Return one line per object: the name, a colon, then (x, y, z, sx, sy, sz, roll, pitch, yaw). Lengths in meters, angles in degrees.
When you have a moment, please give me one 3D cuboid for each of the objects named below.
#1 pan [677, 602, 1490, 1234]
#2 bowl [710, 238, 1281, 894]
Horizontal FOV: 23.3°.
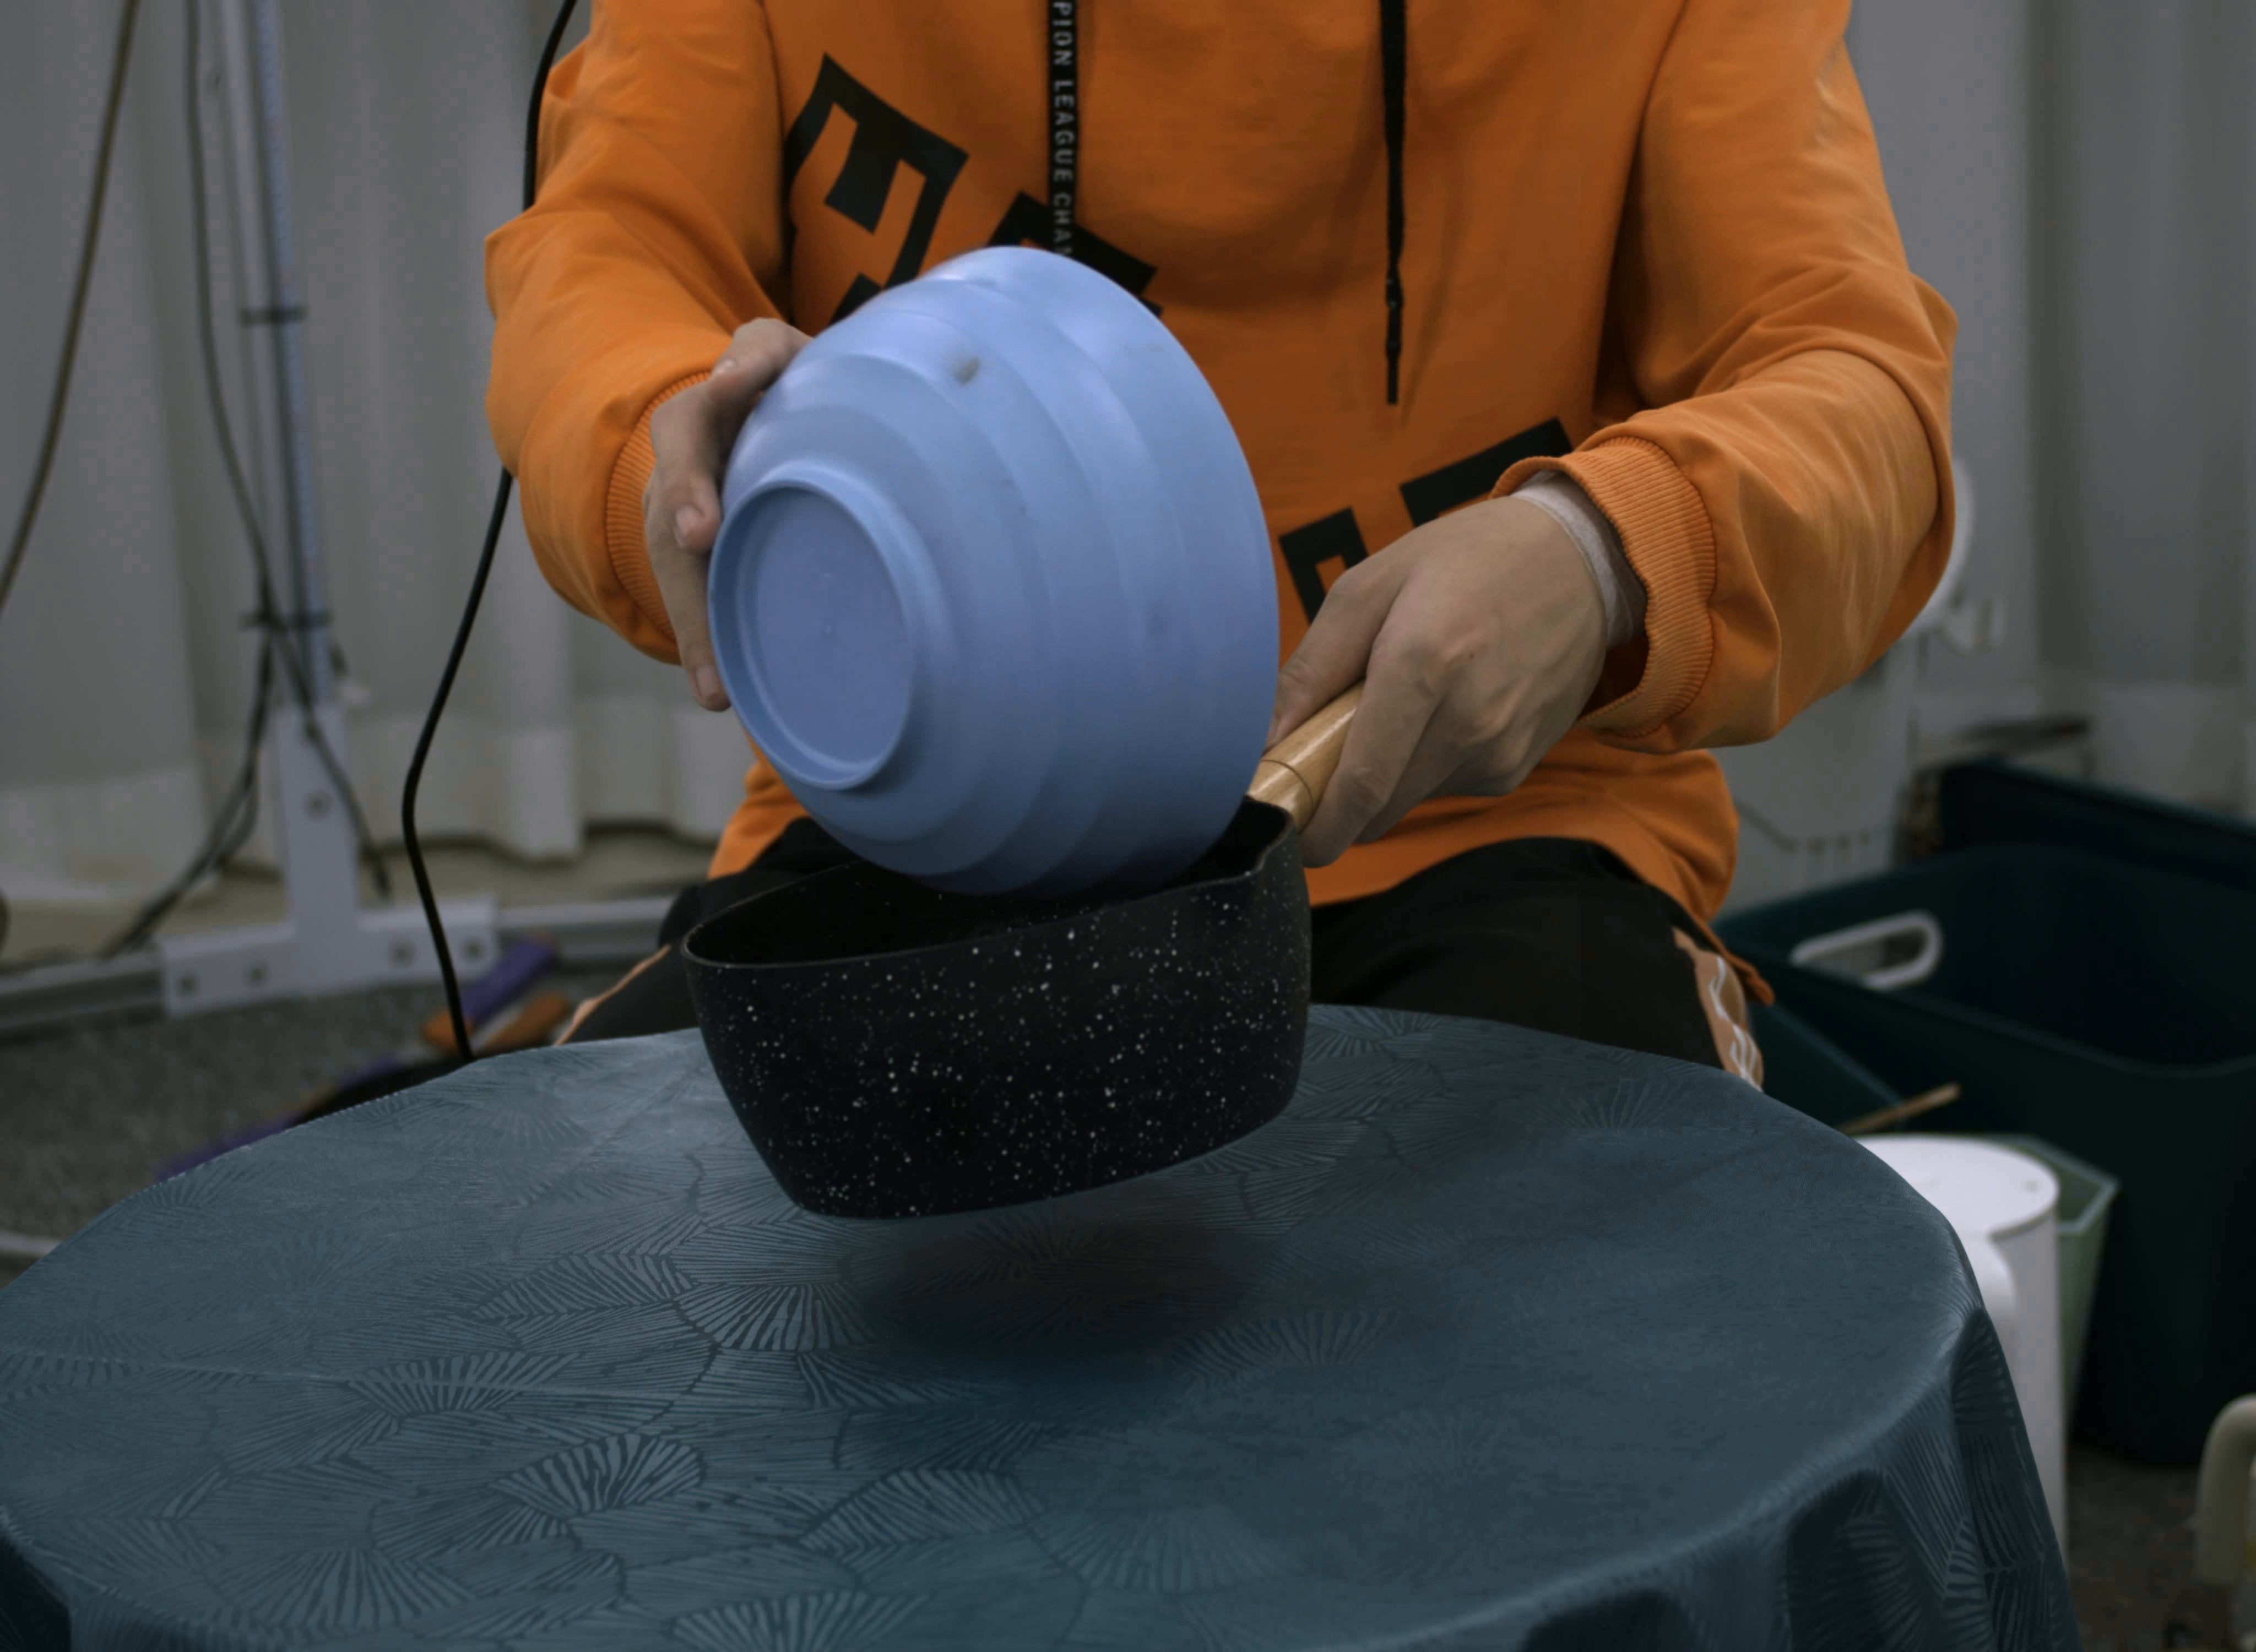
pan: (0.012, 0.025, 1.666, 0.207, 0.108, 0.343, -5, 13, 40)
bowl: (-0.057, -0.066, 1.589, 0.095, 0.195, 0.197, -17, 20, -40)
